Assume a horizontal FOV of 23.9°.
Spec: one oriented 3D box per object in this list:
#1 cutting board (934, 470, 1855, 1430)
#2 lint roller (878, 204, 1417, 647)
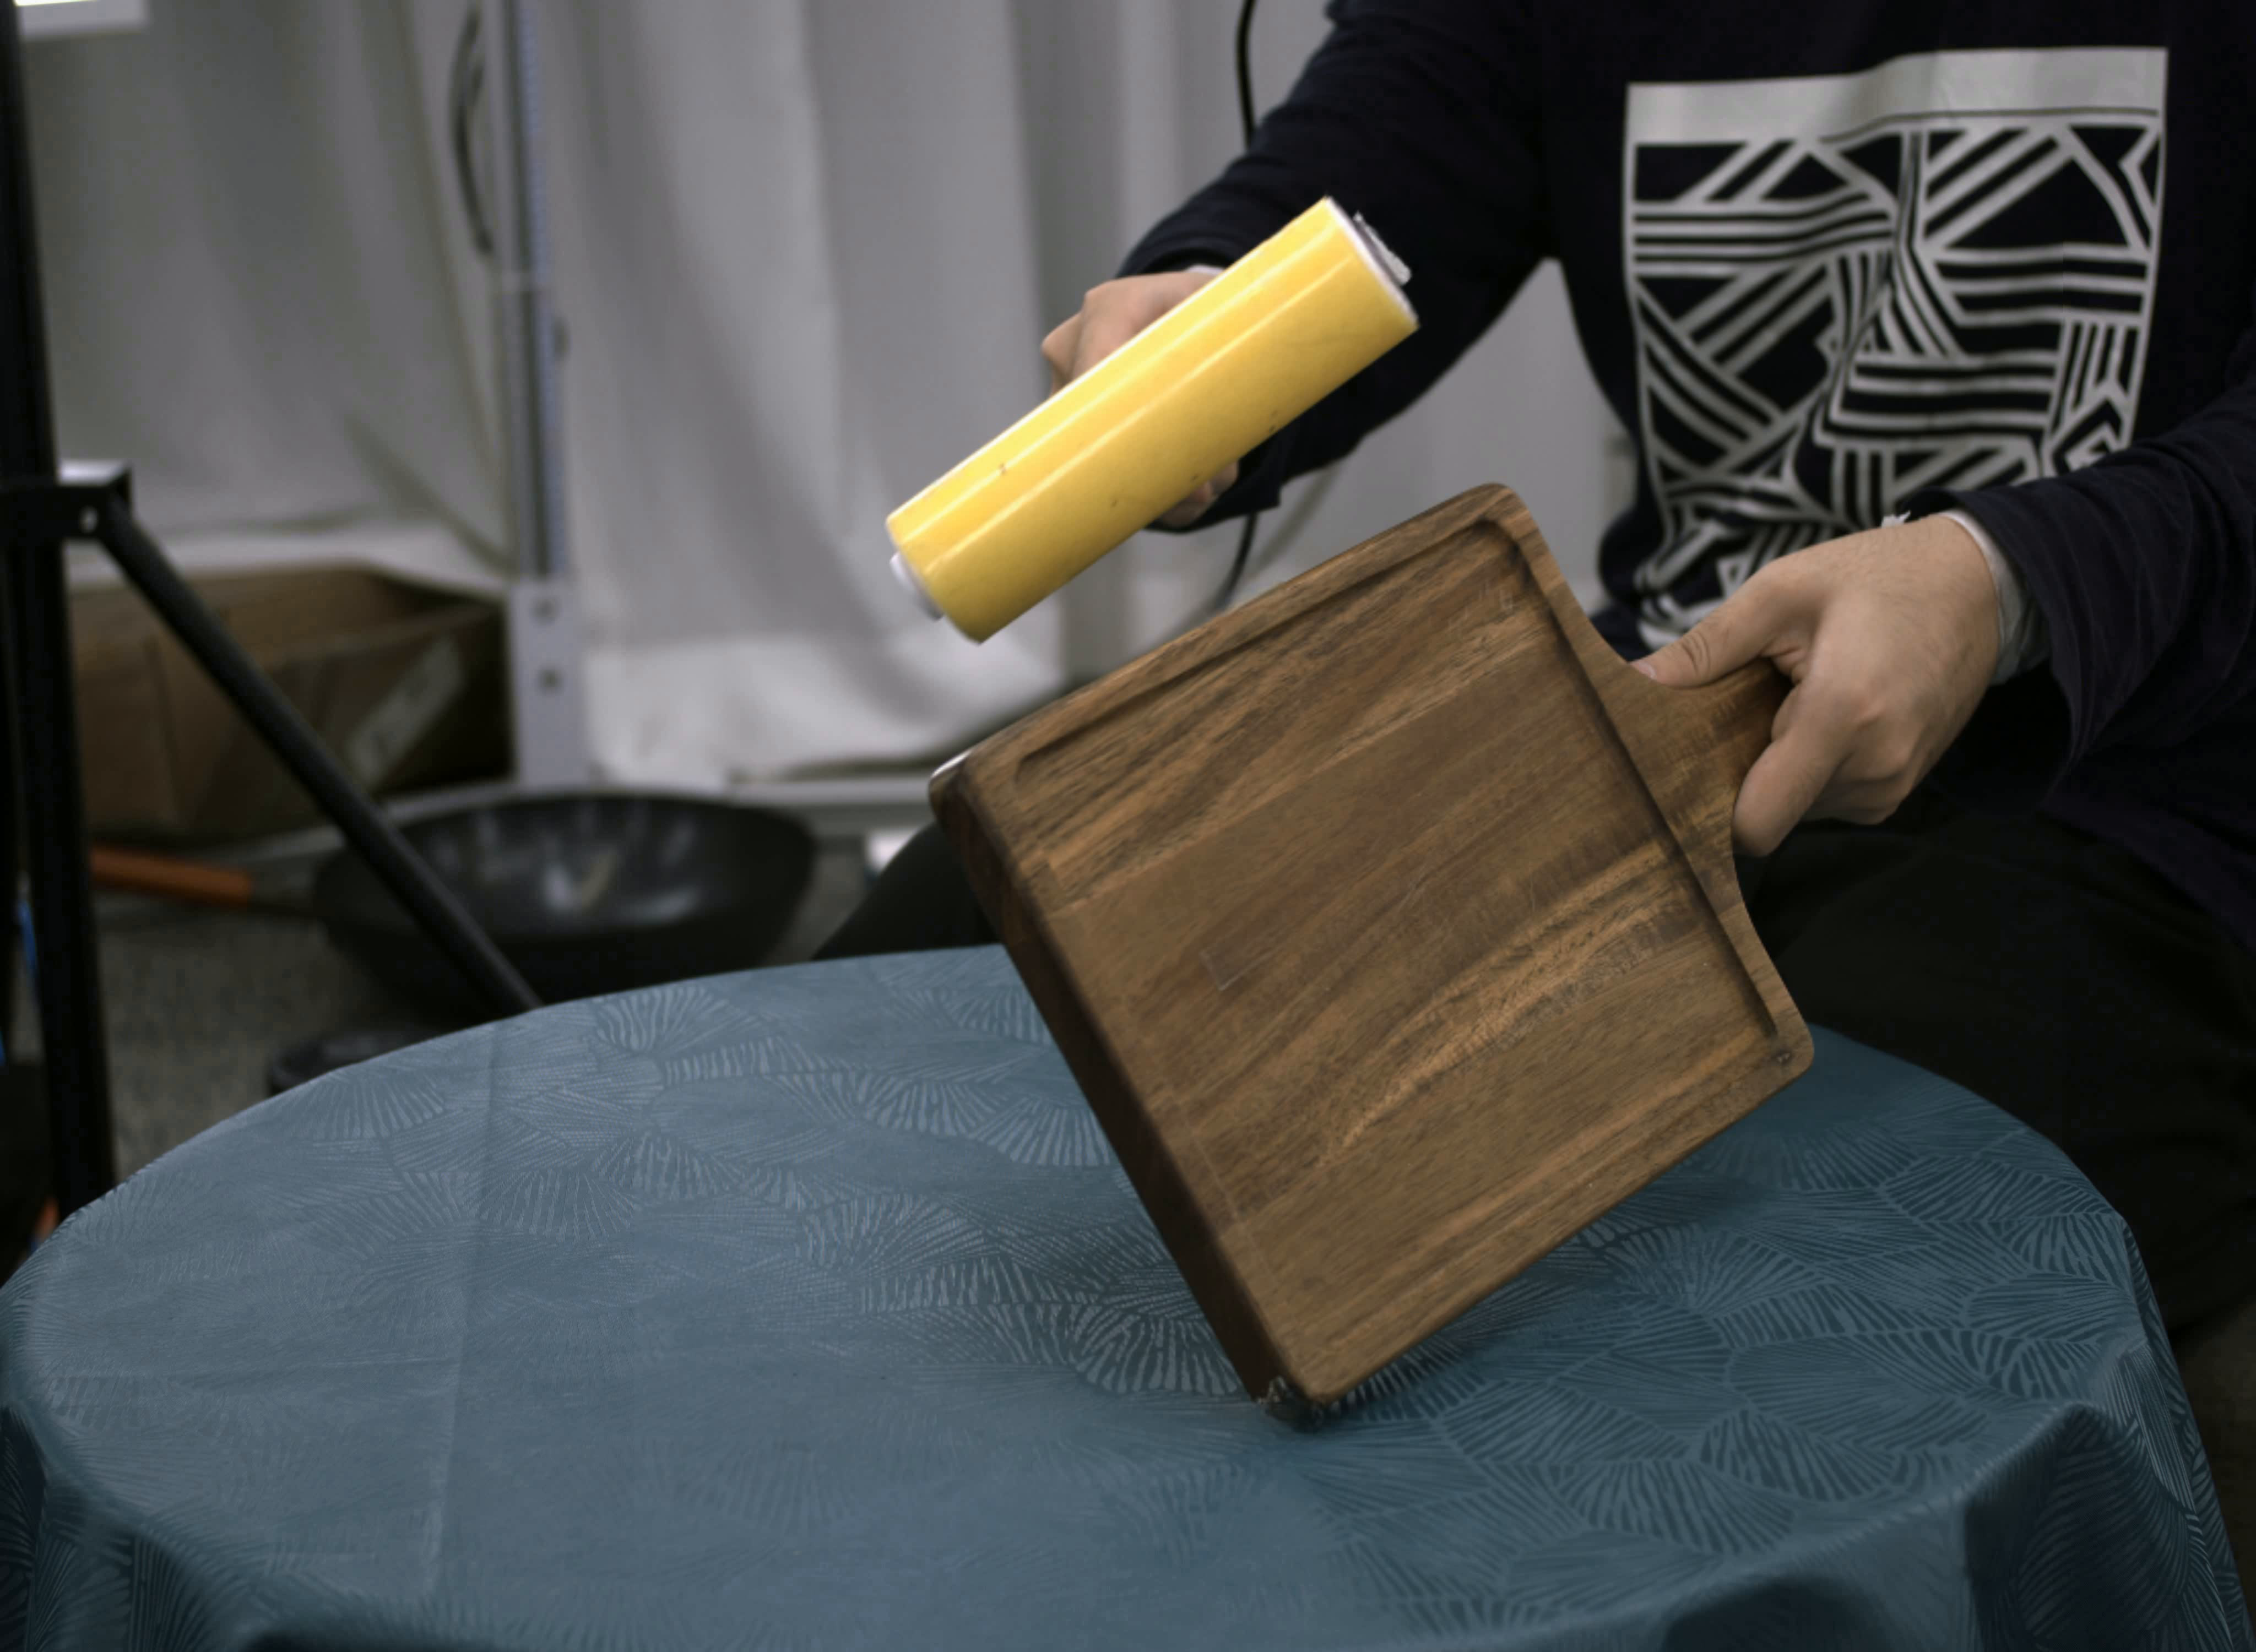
[{"bbox_3d":[0.105,0.011,1.491,0.345,0.202,0.023,-28,-1,-44],"label":"cutting board"},{"bbox_3d":[0.003,-0.132,1.632,0.174,0.051,0.193,-35,13,7],"label":"lint roller"}]
